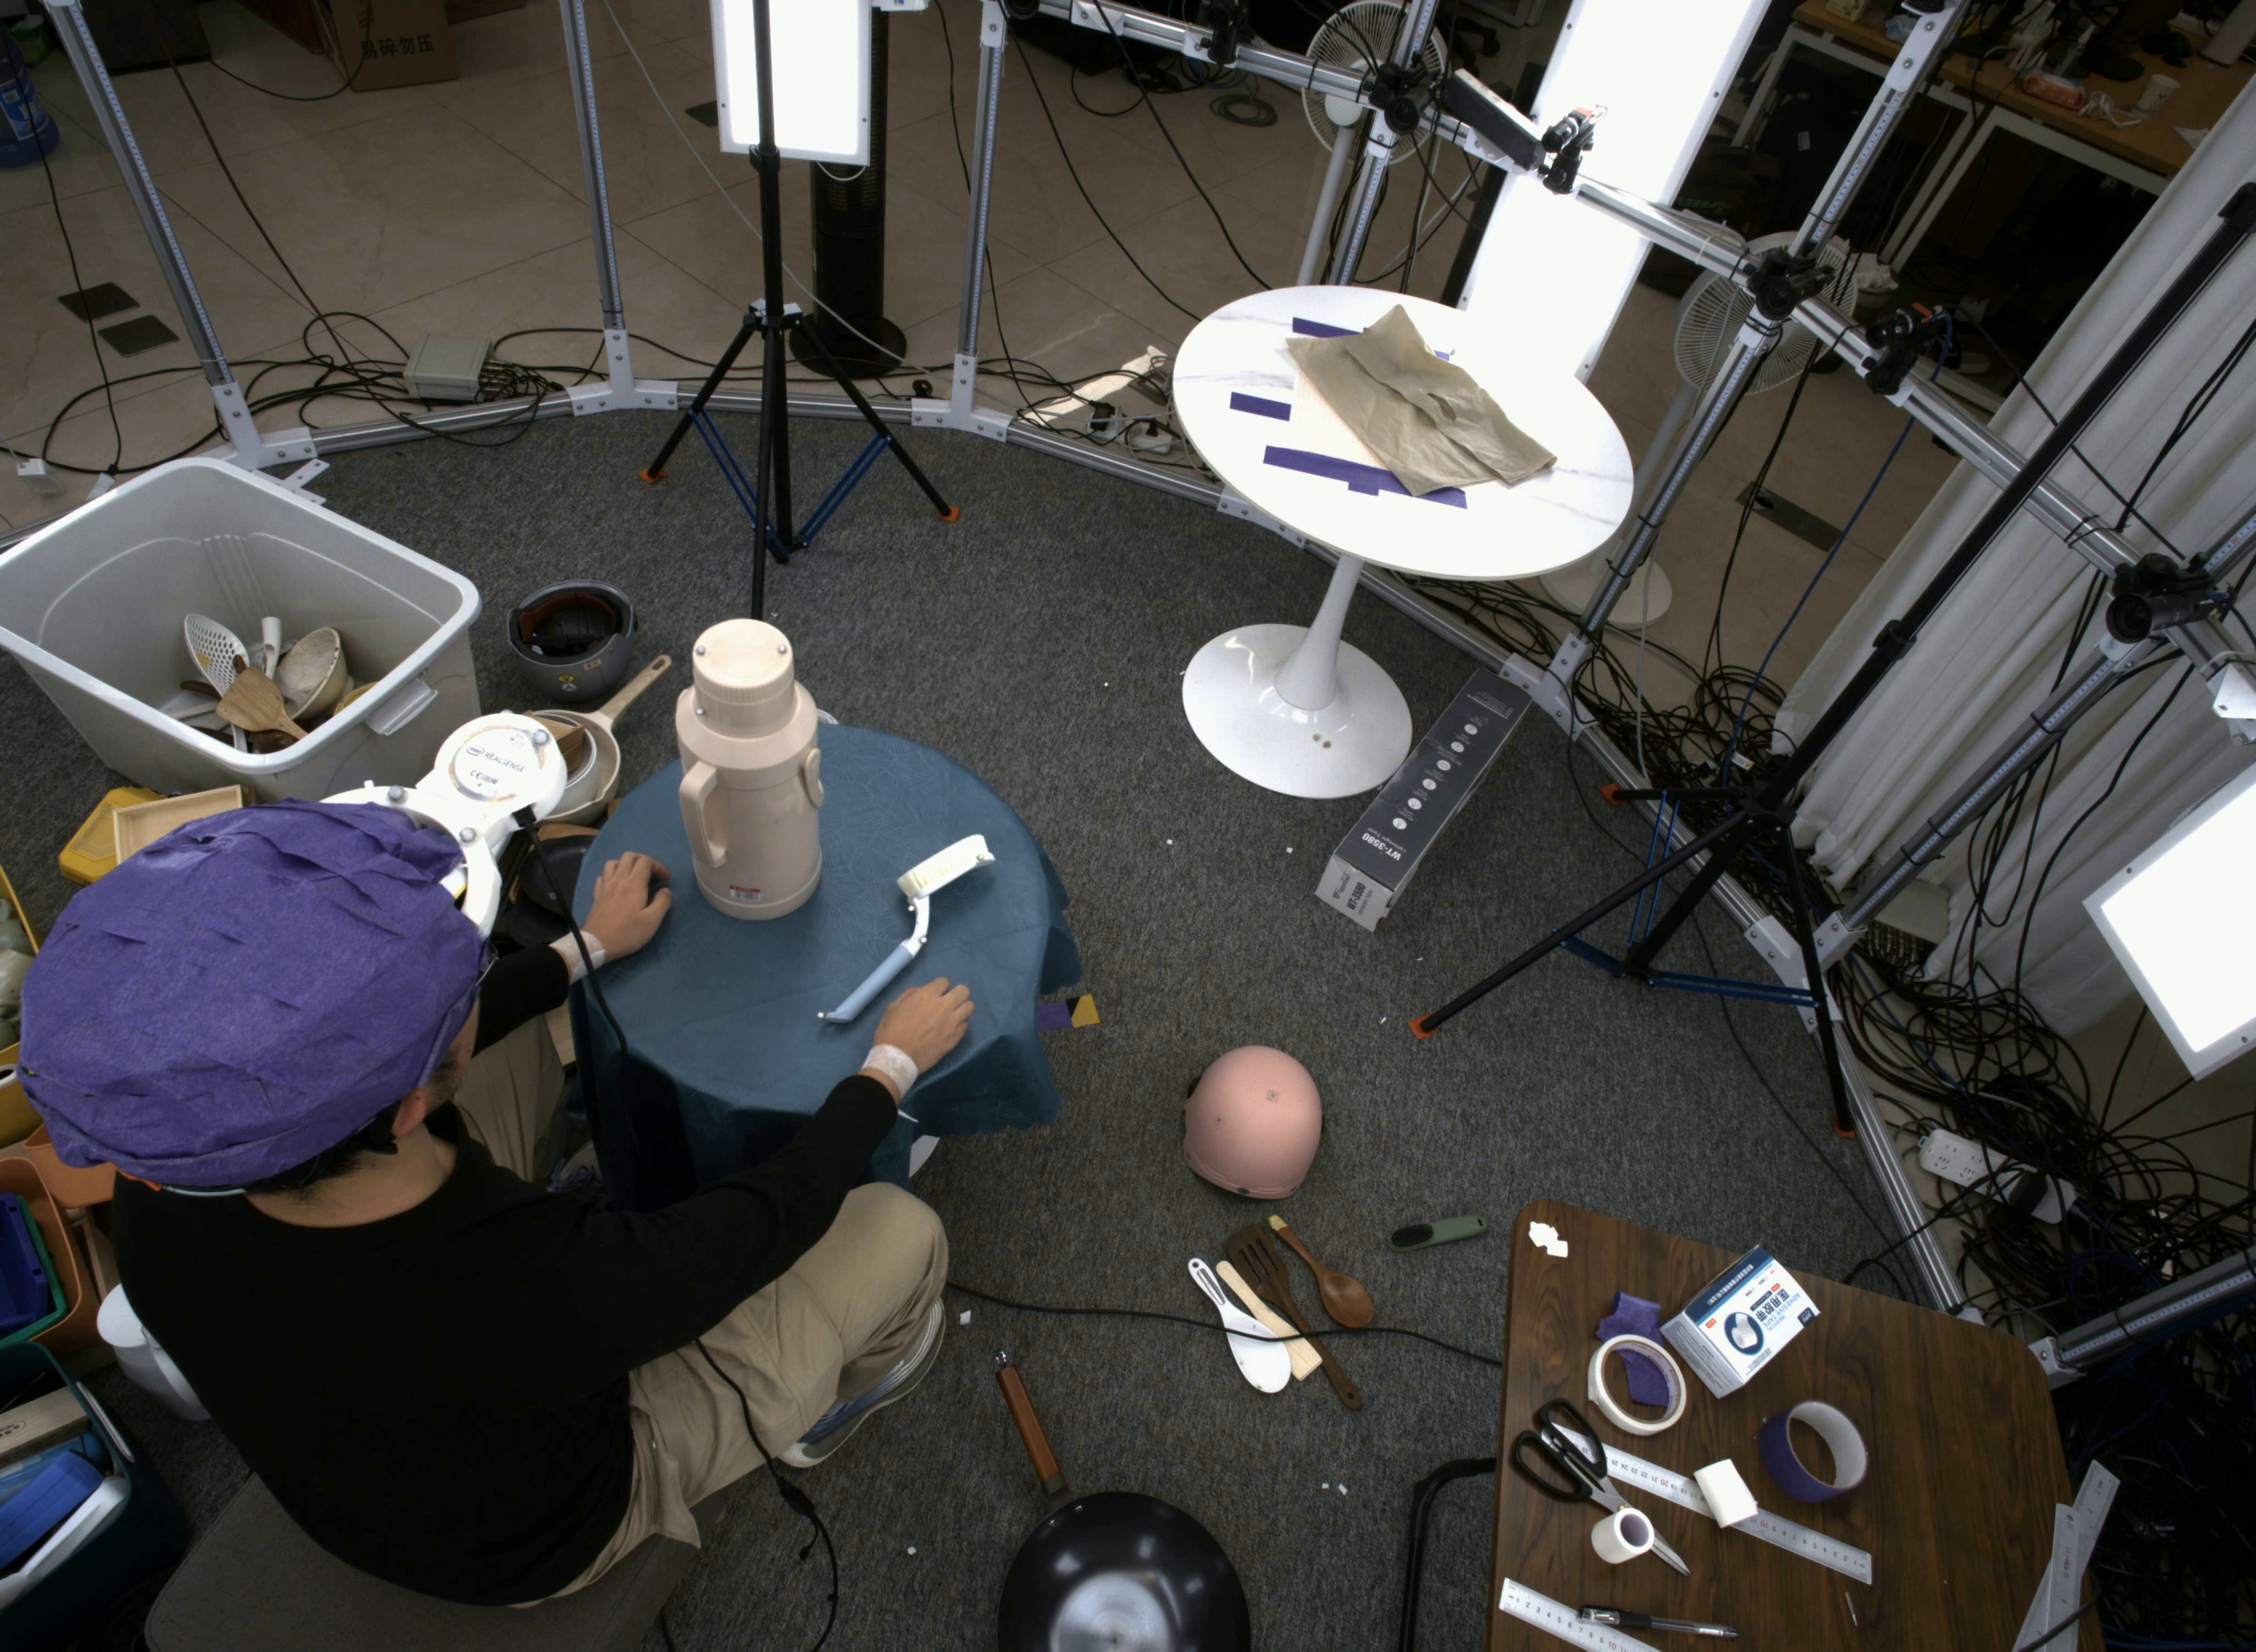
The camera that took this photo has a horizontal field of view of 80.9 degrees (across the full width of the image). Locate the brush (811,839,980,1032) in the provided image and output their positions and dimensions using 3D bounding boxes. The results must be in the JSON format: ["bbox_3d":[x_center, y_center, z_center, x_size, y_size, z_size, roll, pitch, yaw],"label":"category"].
[{"bbox_3d":[-0.303,0.115,1.618,0.082,0.086,0.325,24,52,22],"label":"brush"}]

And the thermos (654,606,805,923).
[{"bbox_3d":[-0.468,-0.058,1.493,0.173,0.414,0.205,23,51,5],"label":"thermos"}]
